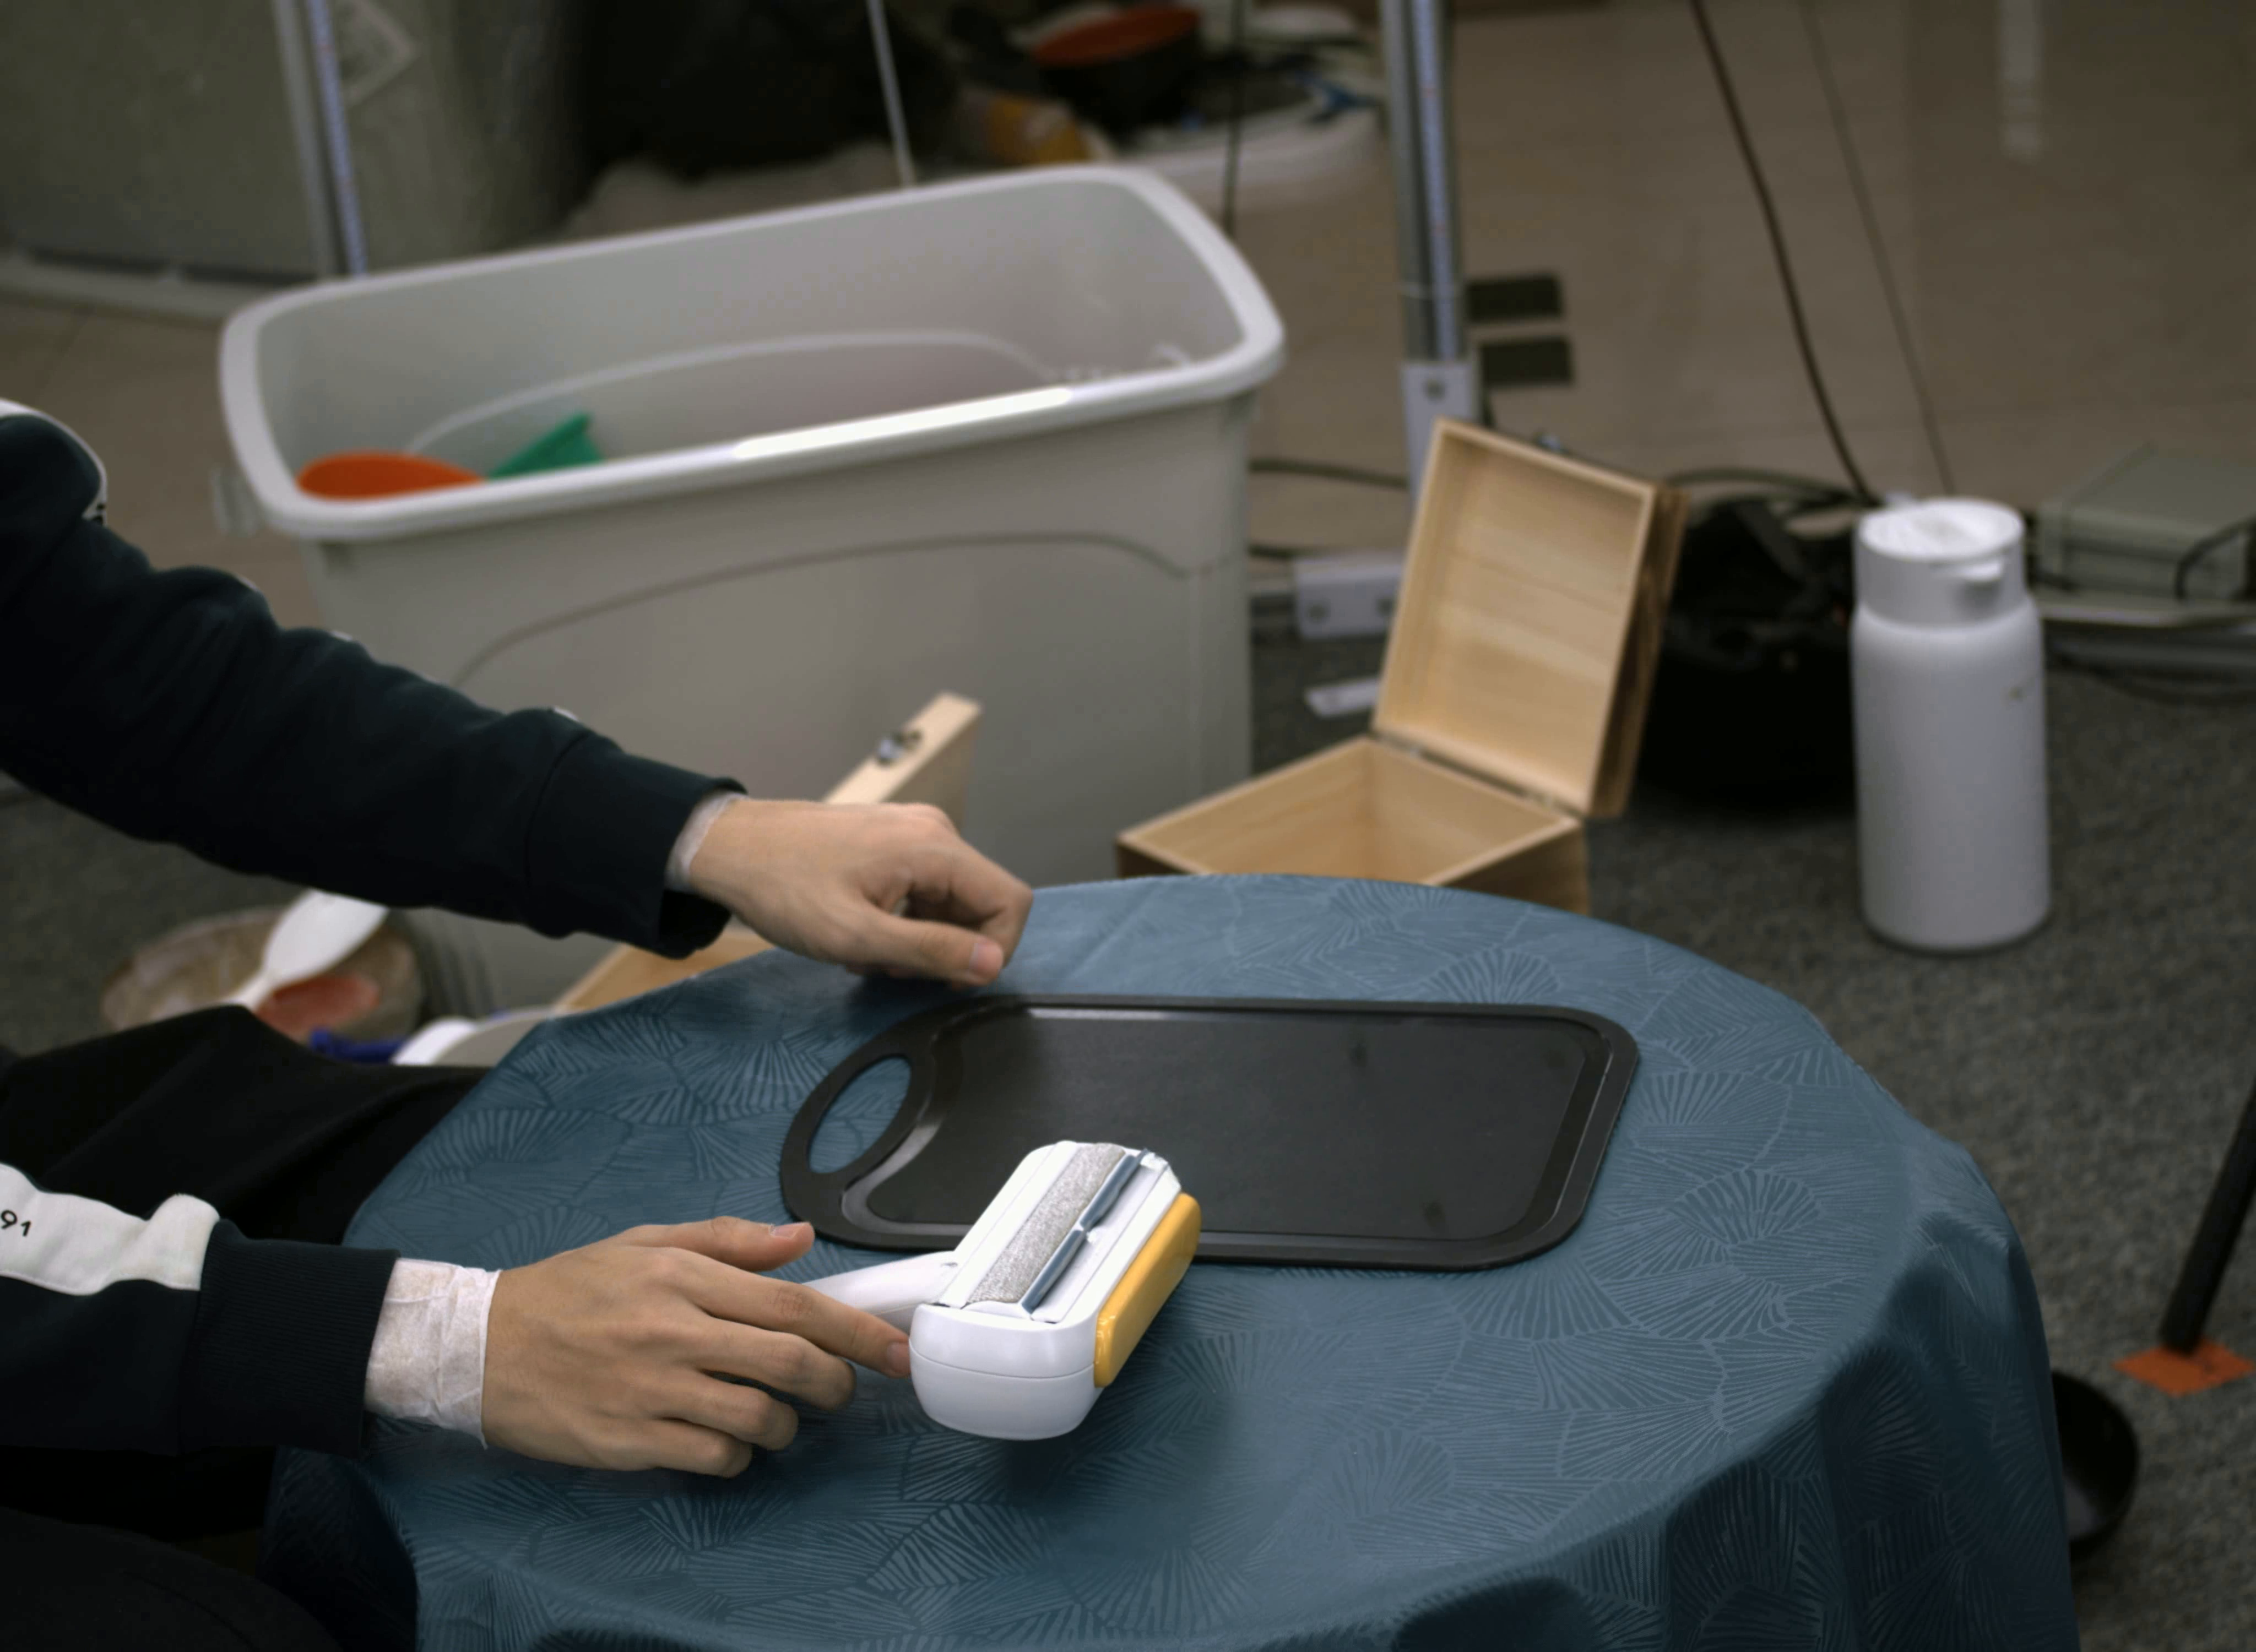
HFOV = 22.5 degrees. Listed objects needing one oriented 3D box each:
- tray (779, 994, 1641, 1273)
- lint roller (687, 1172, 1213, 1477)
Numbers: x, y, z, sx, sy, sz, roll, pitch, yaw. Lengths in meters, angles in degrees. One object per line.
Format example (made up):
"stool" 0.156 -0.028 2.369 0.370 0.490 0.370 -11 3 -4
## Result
"tray" 0.026 0.114 2.183 0.325 0.010 0.208 1 26 16
"lint roller" -0.077 0.188 2.022 0.192 0.075 0.191 -12 15 24
